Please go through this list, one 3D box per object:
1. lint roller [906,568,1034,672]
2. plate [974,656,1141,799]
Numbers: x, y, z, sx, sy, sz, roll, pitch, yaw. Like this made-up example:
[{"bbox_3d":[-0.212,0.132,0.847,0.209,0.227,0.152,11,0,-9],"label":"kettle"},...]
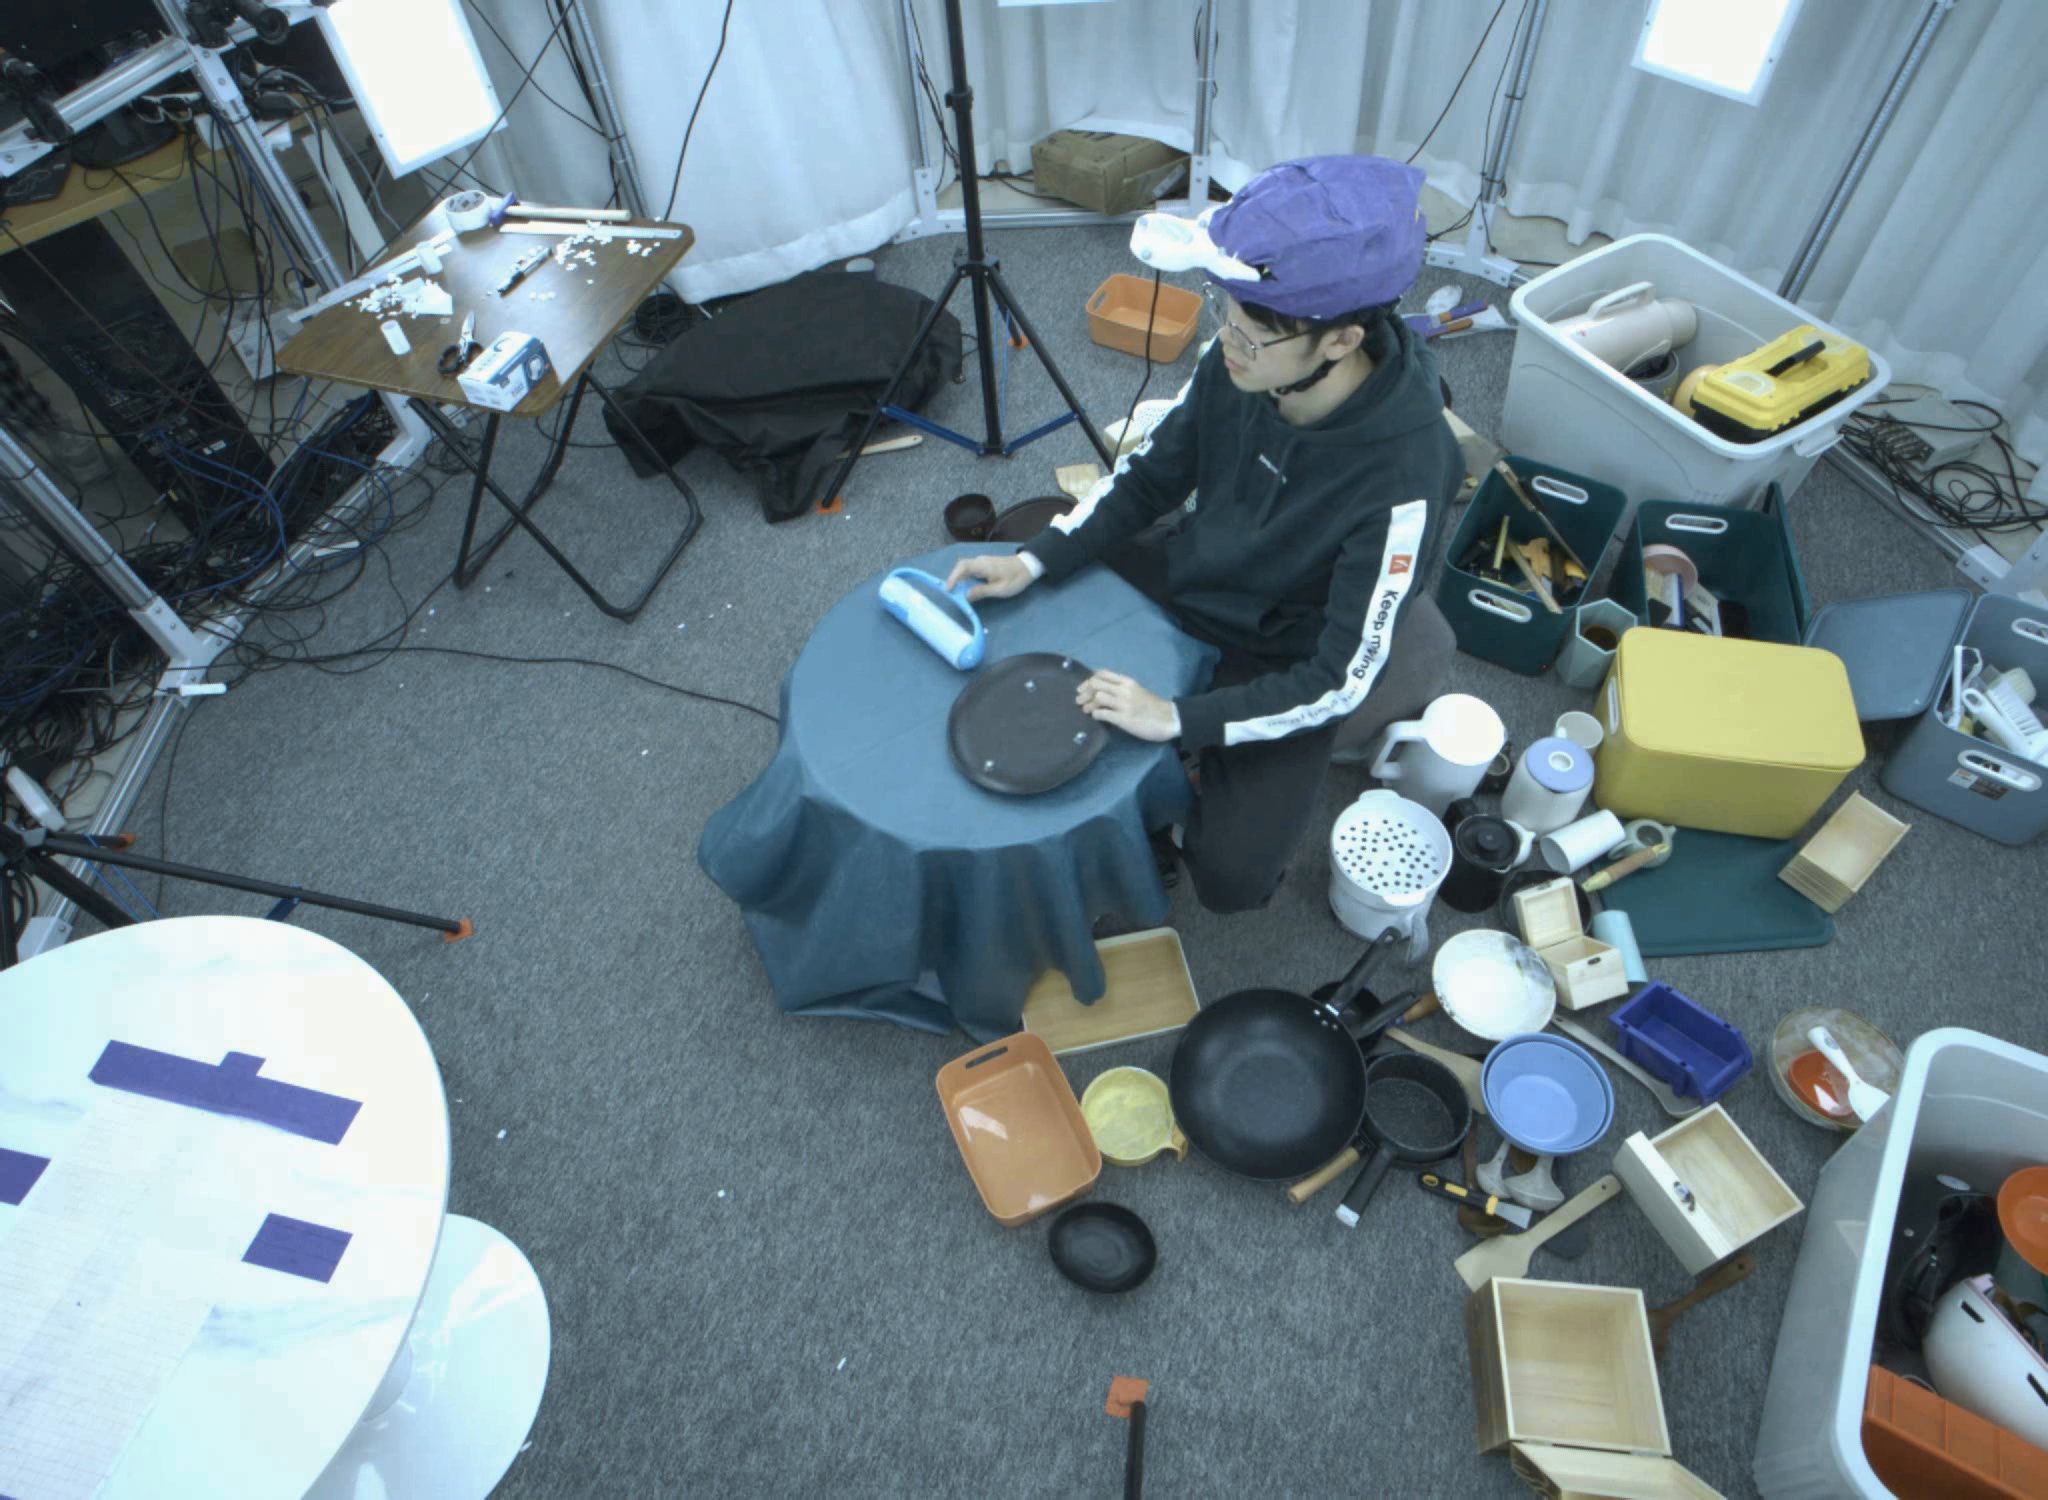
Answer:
[{"bbox_3d":[-0.059,-0.229,1.913,0.181,0.068,0.224,-38,61,-23],"label":"lint roller"},{"bbox_3d":[0.049,-0.031,1.772,0.243,0.024,0.242,-4,59,8],"label":"plate"}]
